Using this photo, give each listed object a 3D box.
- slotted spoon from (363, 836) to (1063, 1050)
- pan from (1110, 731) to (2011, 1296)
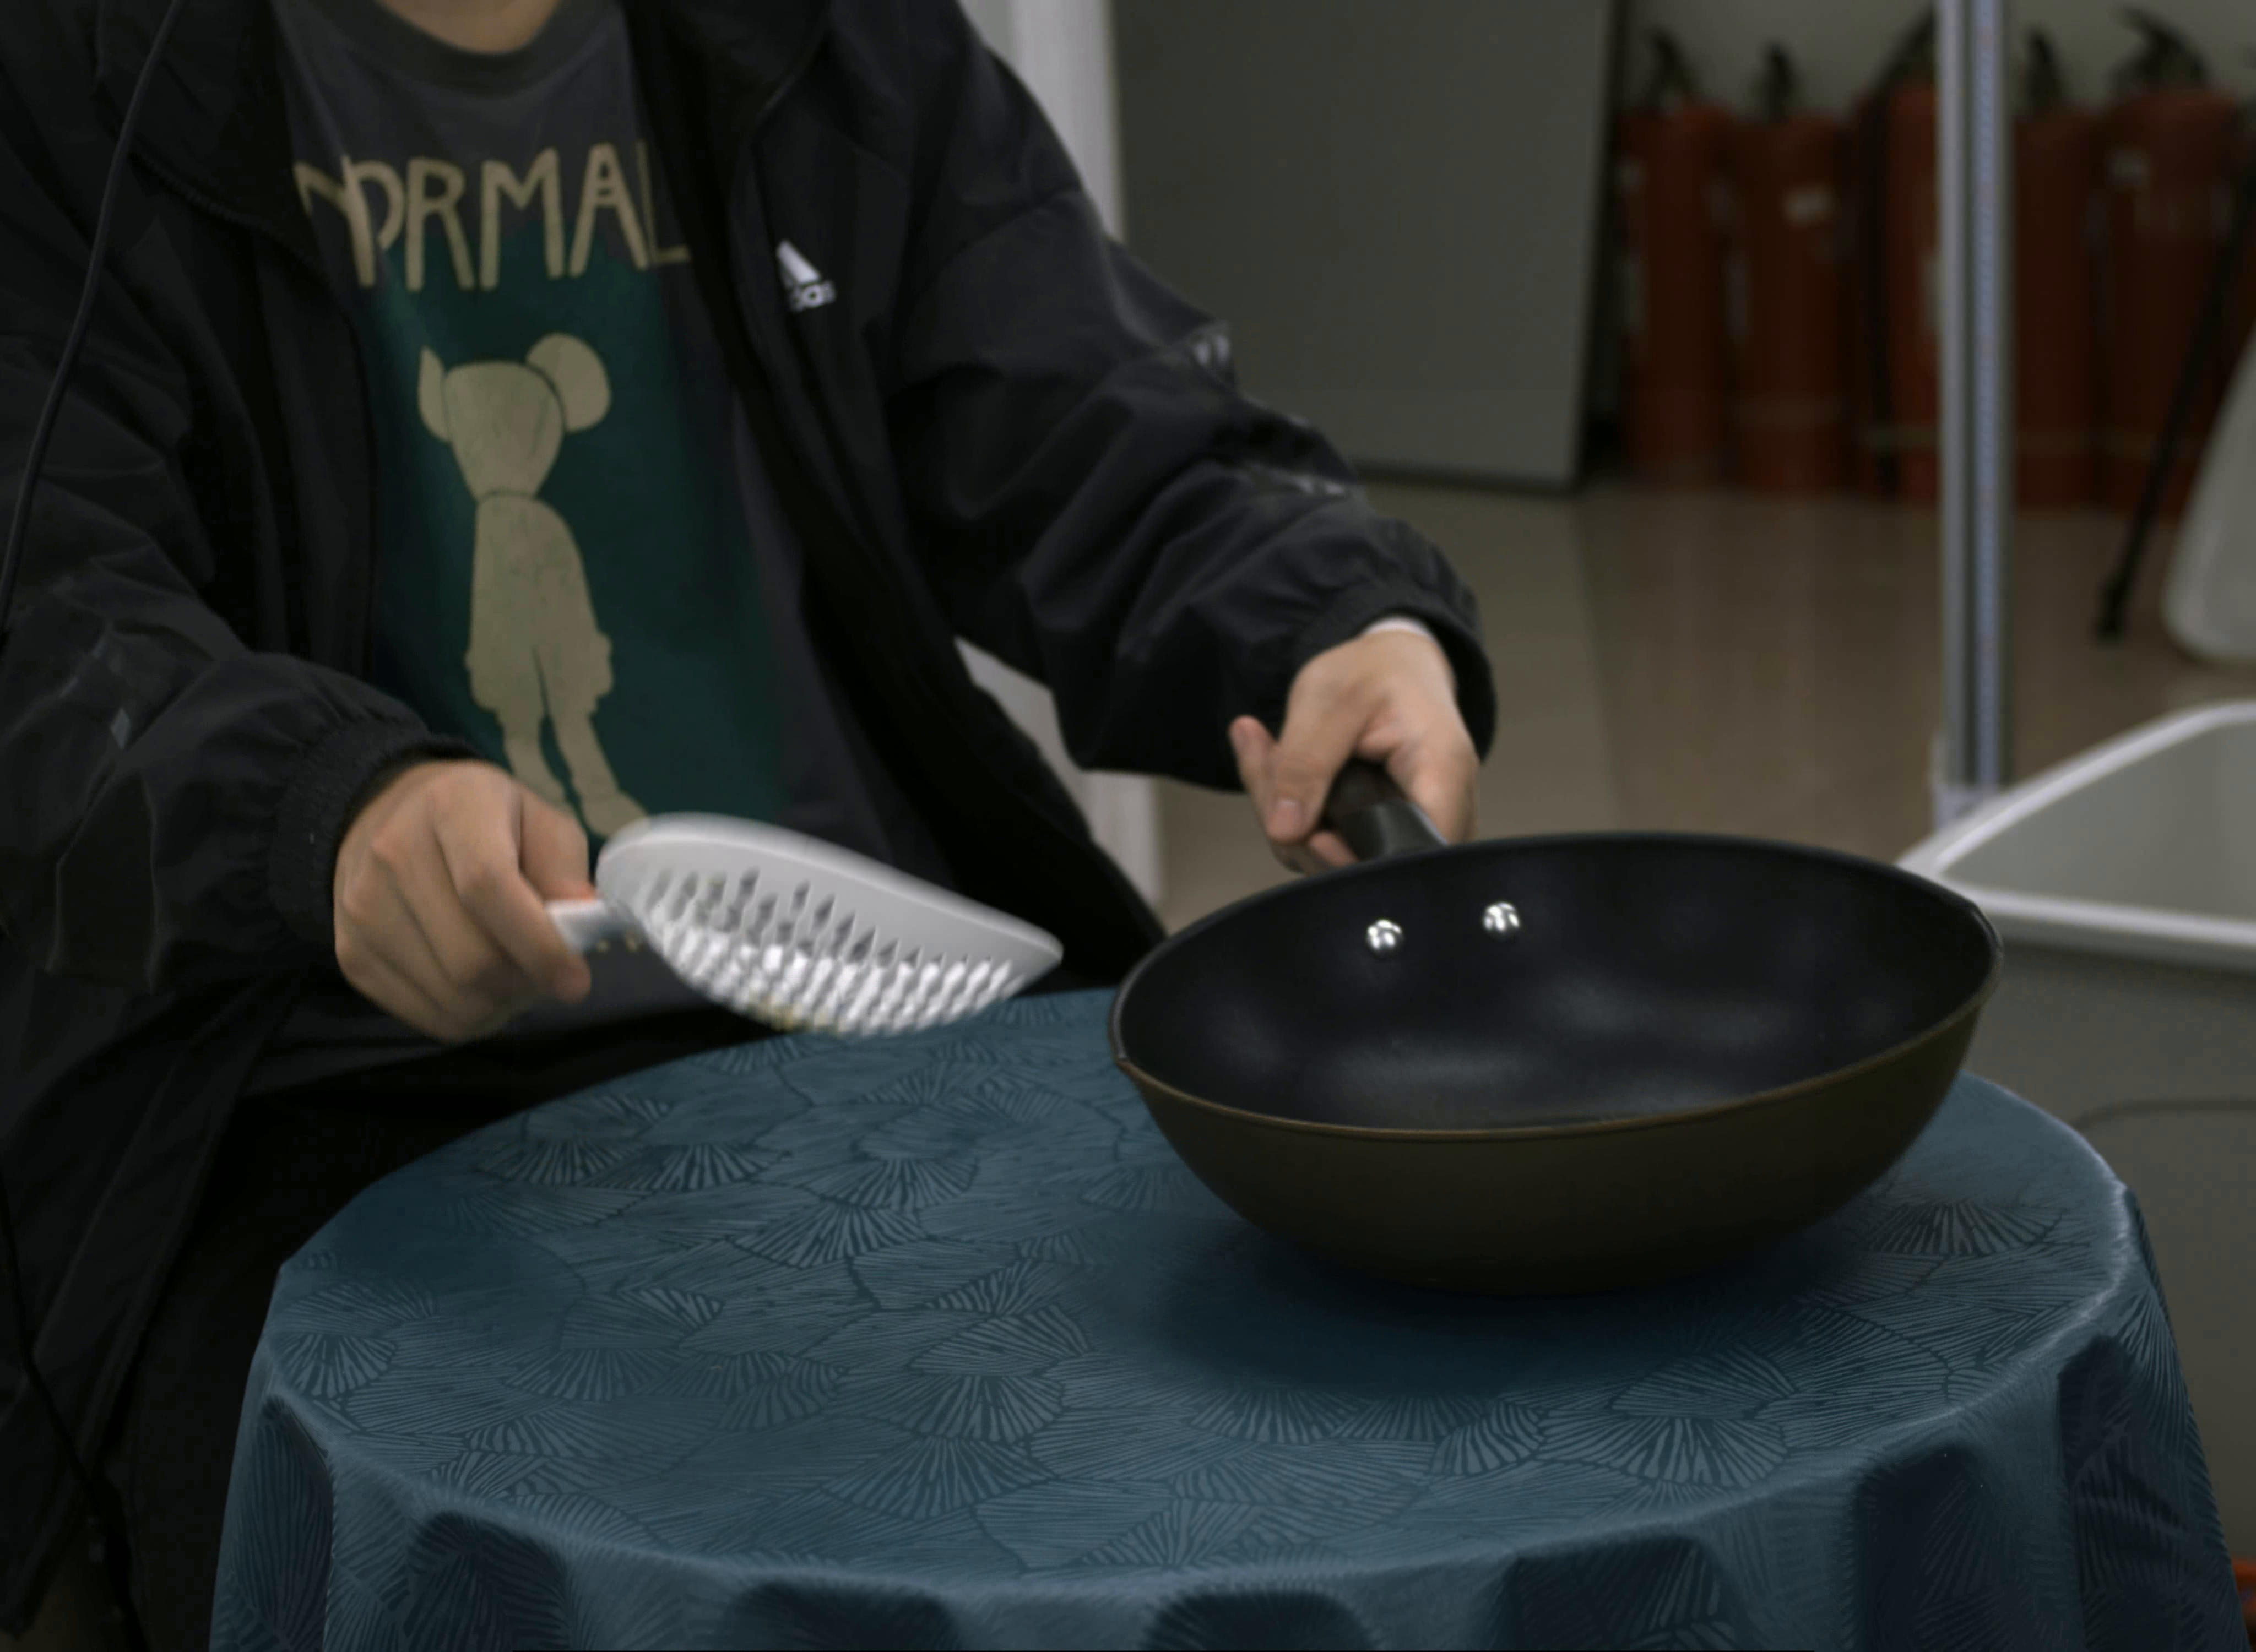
[{"bbox_3d":[-0.148,0.045,1.673,0.134,0.051,0.351,17,-10,-30],"label":"slotted spoon"},{"bbox_3d":[0.117,0.059,1.780,0.283,0.088,0.466,-9,16,-11],"label":"pan"}]
